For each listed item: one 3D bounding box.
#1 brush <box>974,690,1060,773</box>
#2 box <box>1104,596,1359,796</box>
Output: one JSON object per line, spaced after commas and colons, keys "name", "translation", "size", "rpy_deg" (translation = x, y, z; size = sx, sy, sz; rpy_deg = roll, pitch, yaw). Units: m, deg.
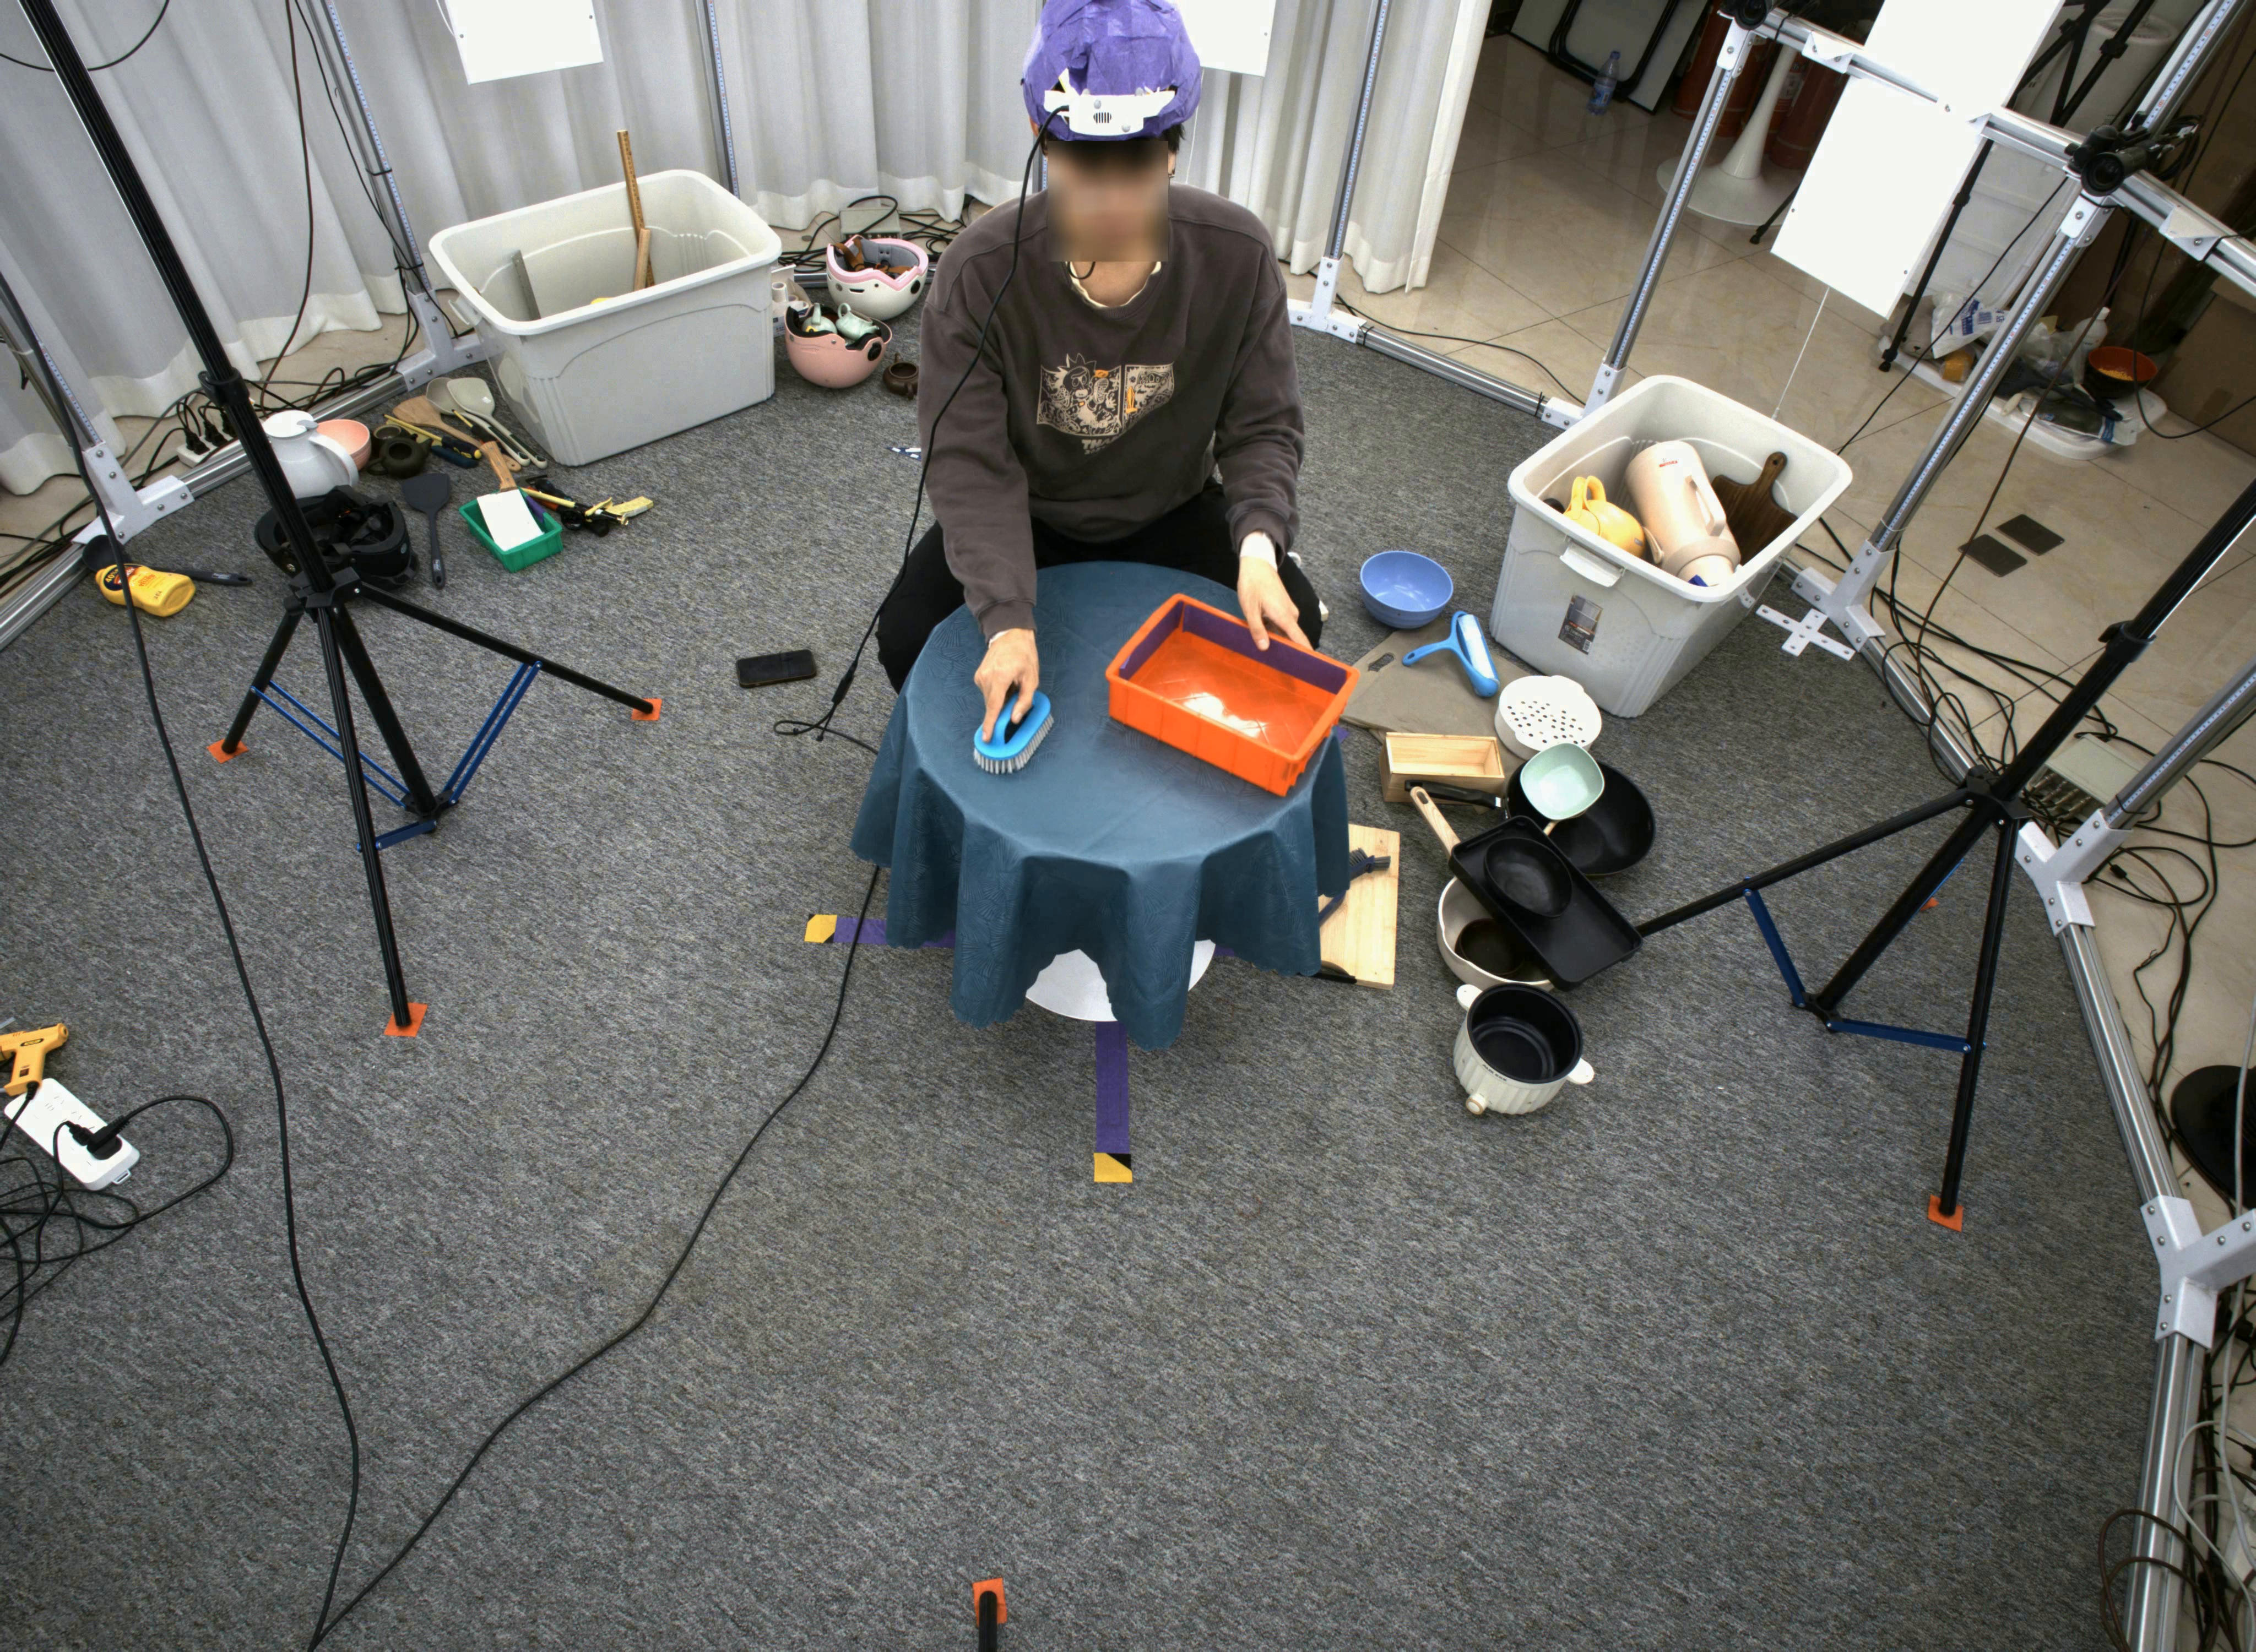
{"name": "brush", "translation": [-0.153, -0.141, 1.733], "size": [0.085, 0.062, 0.144], "rpy_deg": [19, 50, 21]}
{"name": "box", "translation": [0.139, -0.181, 1.777], "size": [0.306, 0.094, 0.209], "rpy_deg": [27, 53, 18]}
